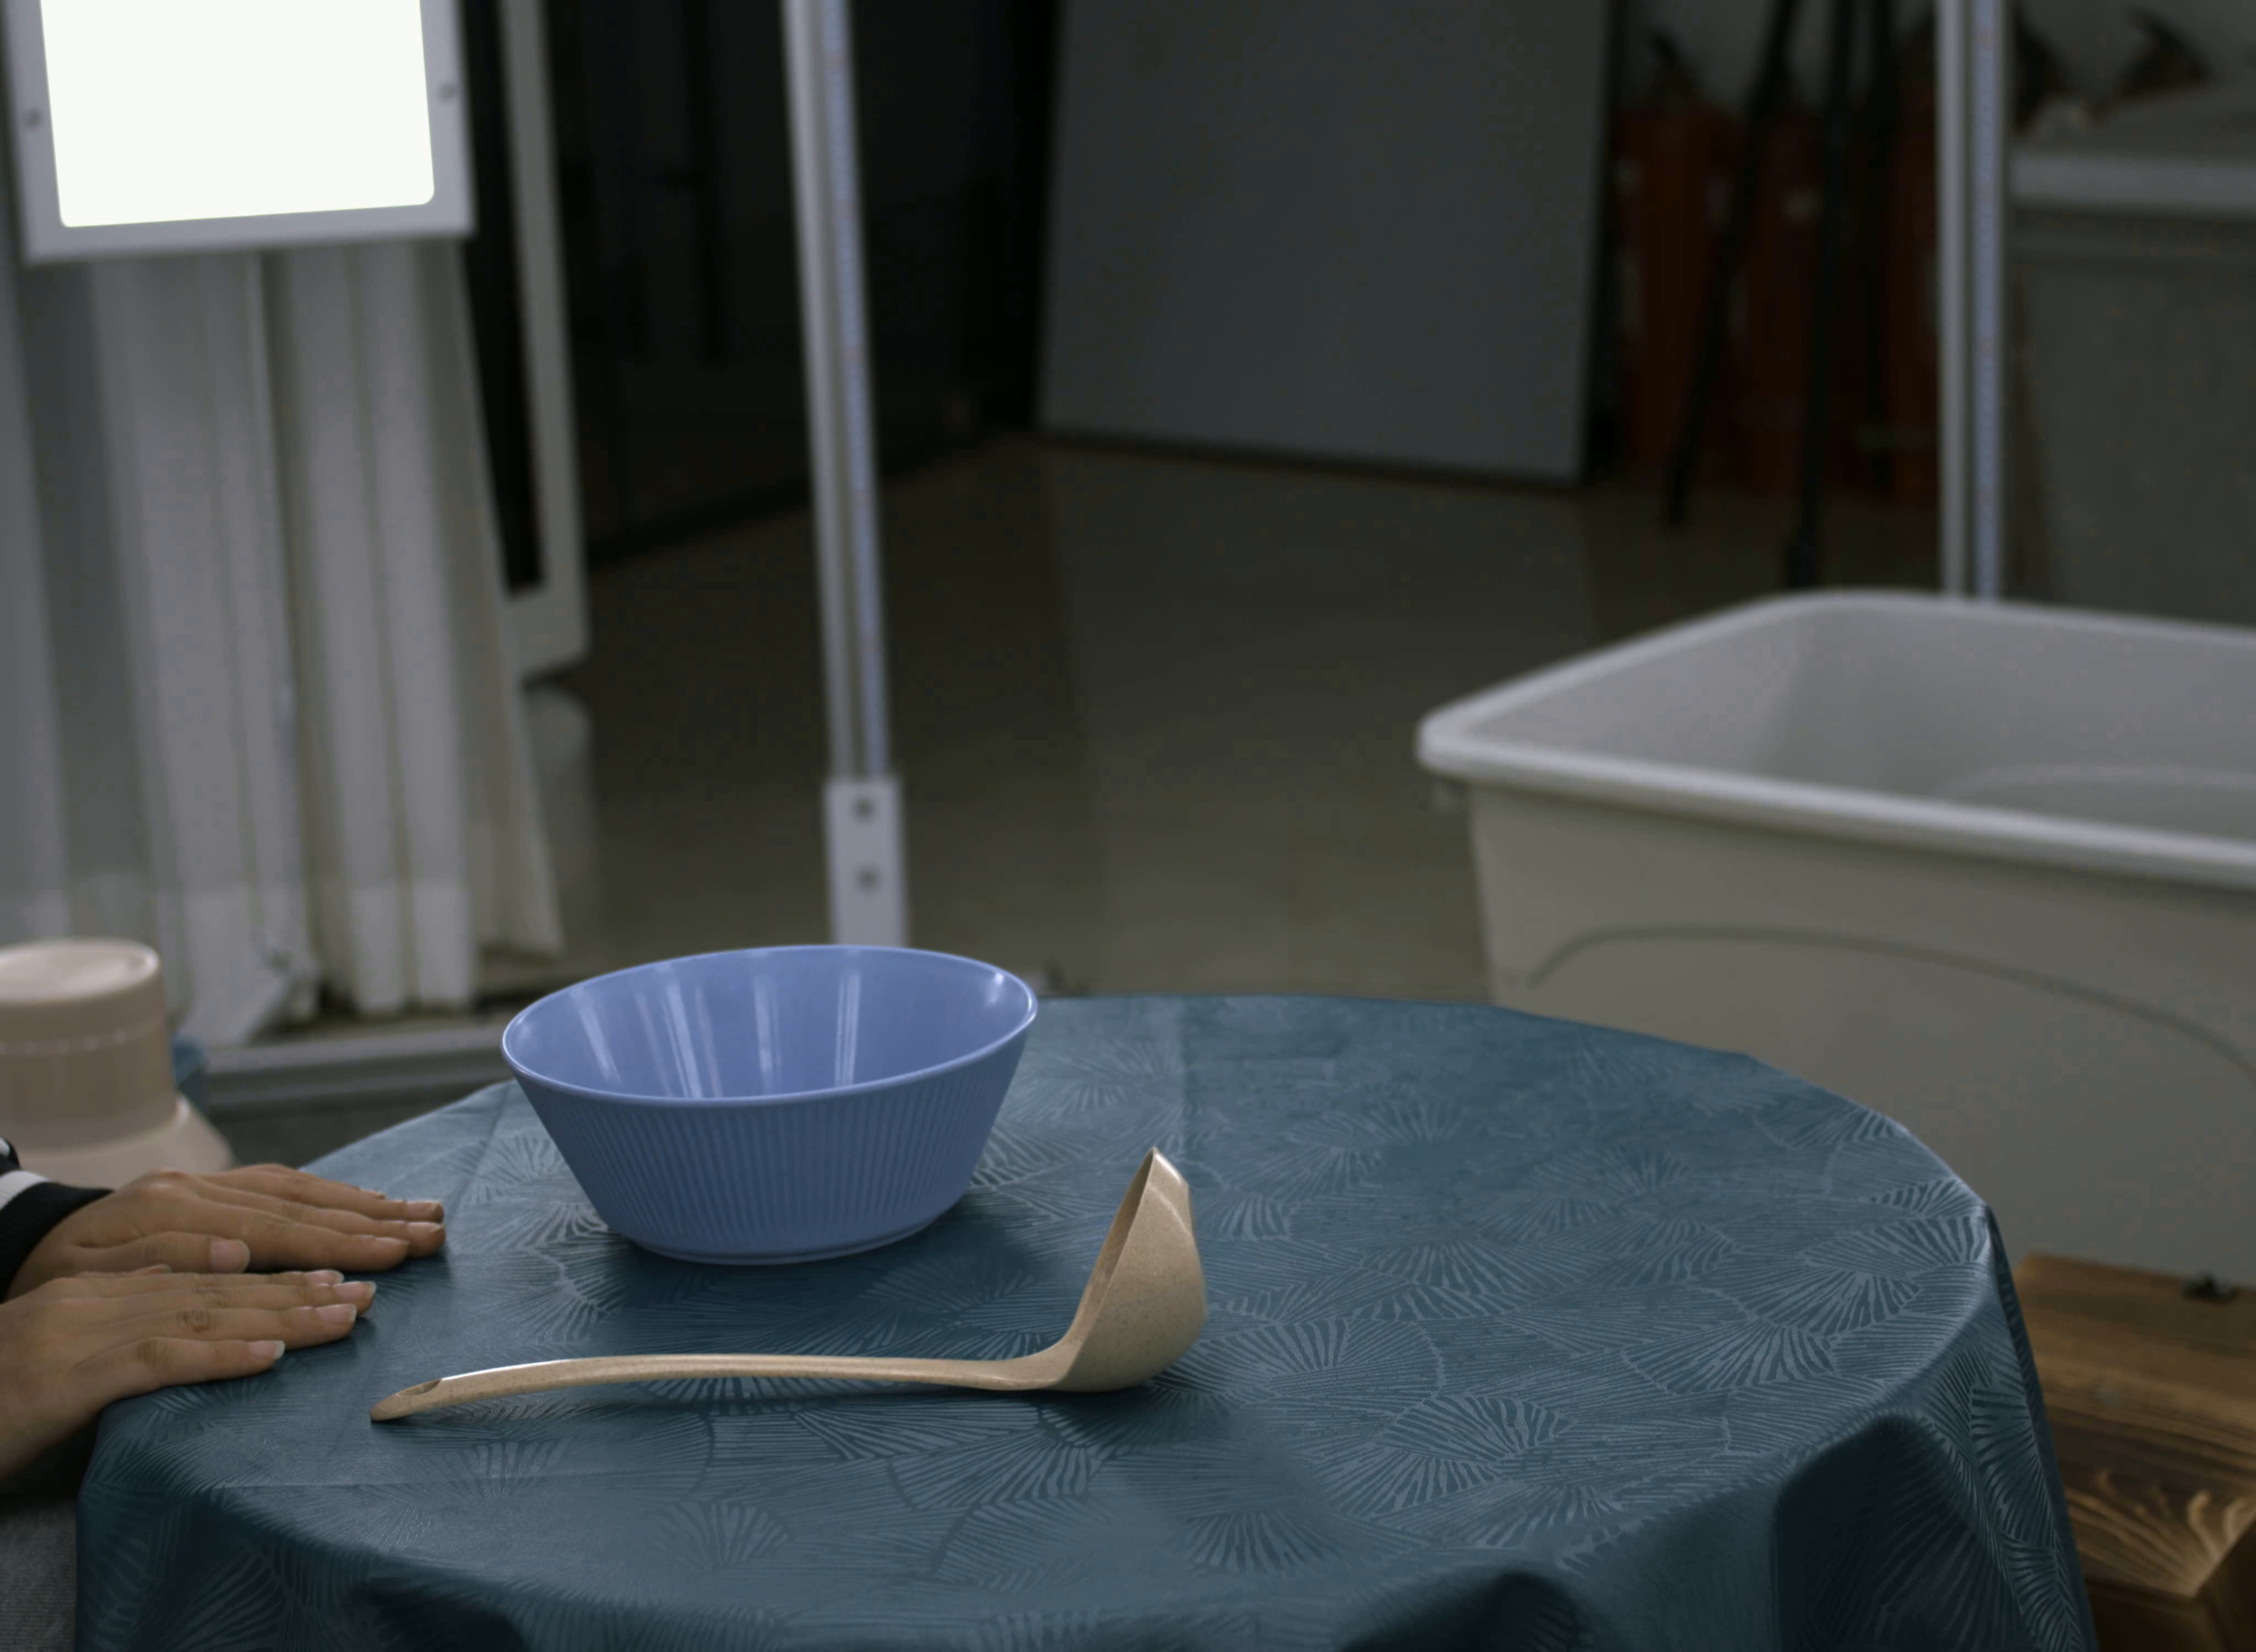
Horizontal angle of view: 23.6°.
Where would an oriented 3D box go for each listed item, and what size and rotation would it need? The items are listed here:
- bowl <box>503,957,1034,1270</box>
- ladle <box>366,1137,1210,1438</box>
[{"bbox_3d":[-0.114,0.096,1.761,0.174,0.071,0.176,-4,13,0],"label":"bowl"},{"bbox_3d":[-0.102,0.135,1.588,0.251,0.073,0.072,-4,12,2],"label":"ladle"}]
